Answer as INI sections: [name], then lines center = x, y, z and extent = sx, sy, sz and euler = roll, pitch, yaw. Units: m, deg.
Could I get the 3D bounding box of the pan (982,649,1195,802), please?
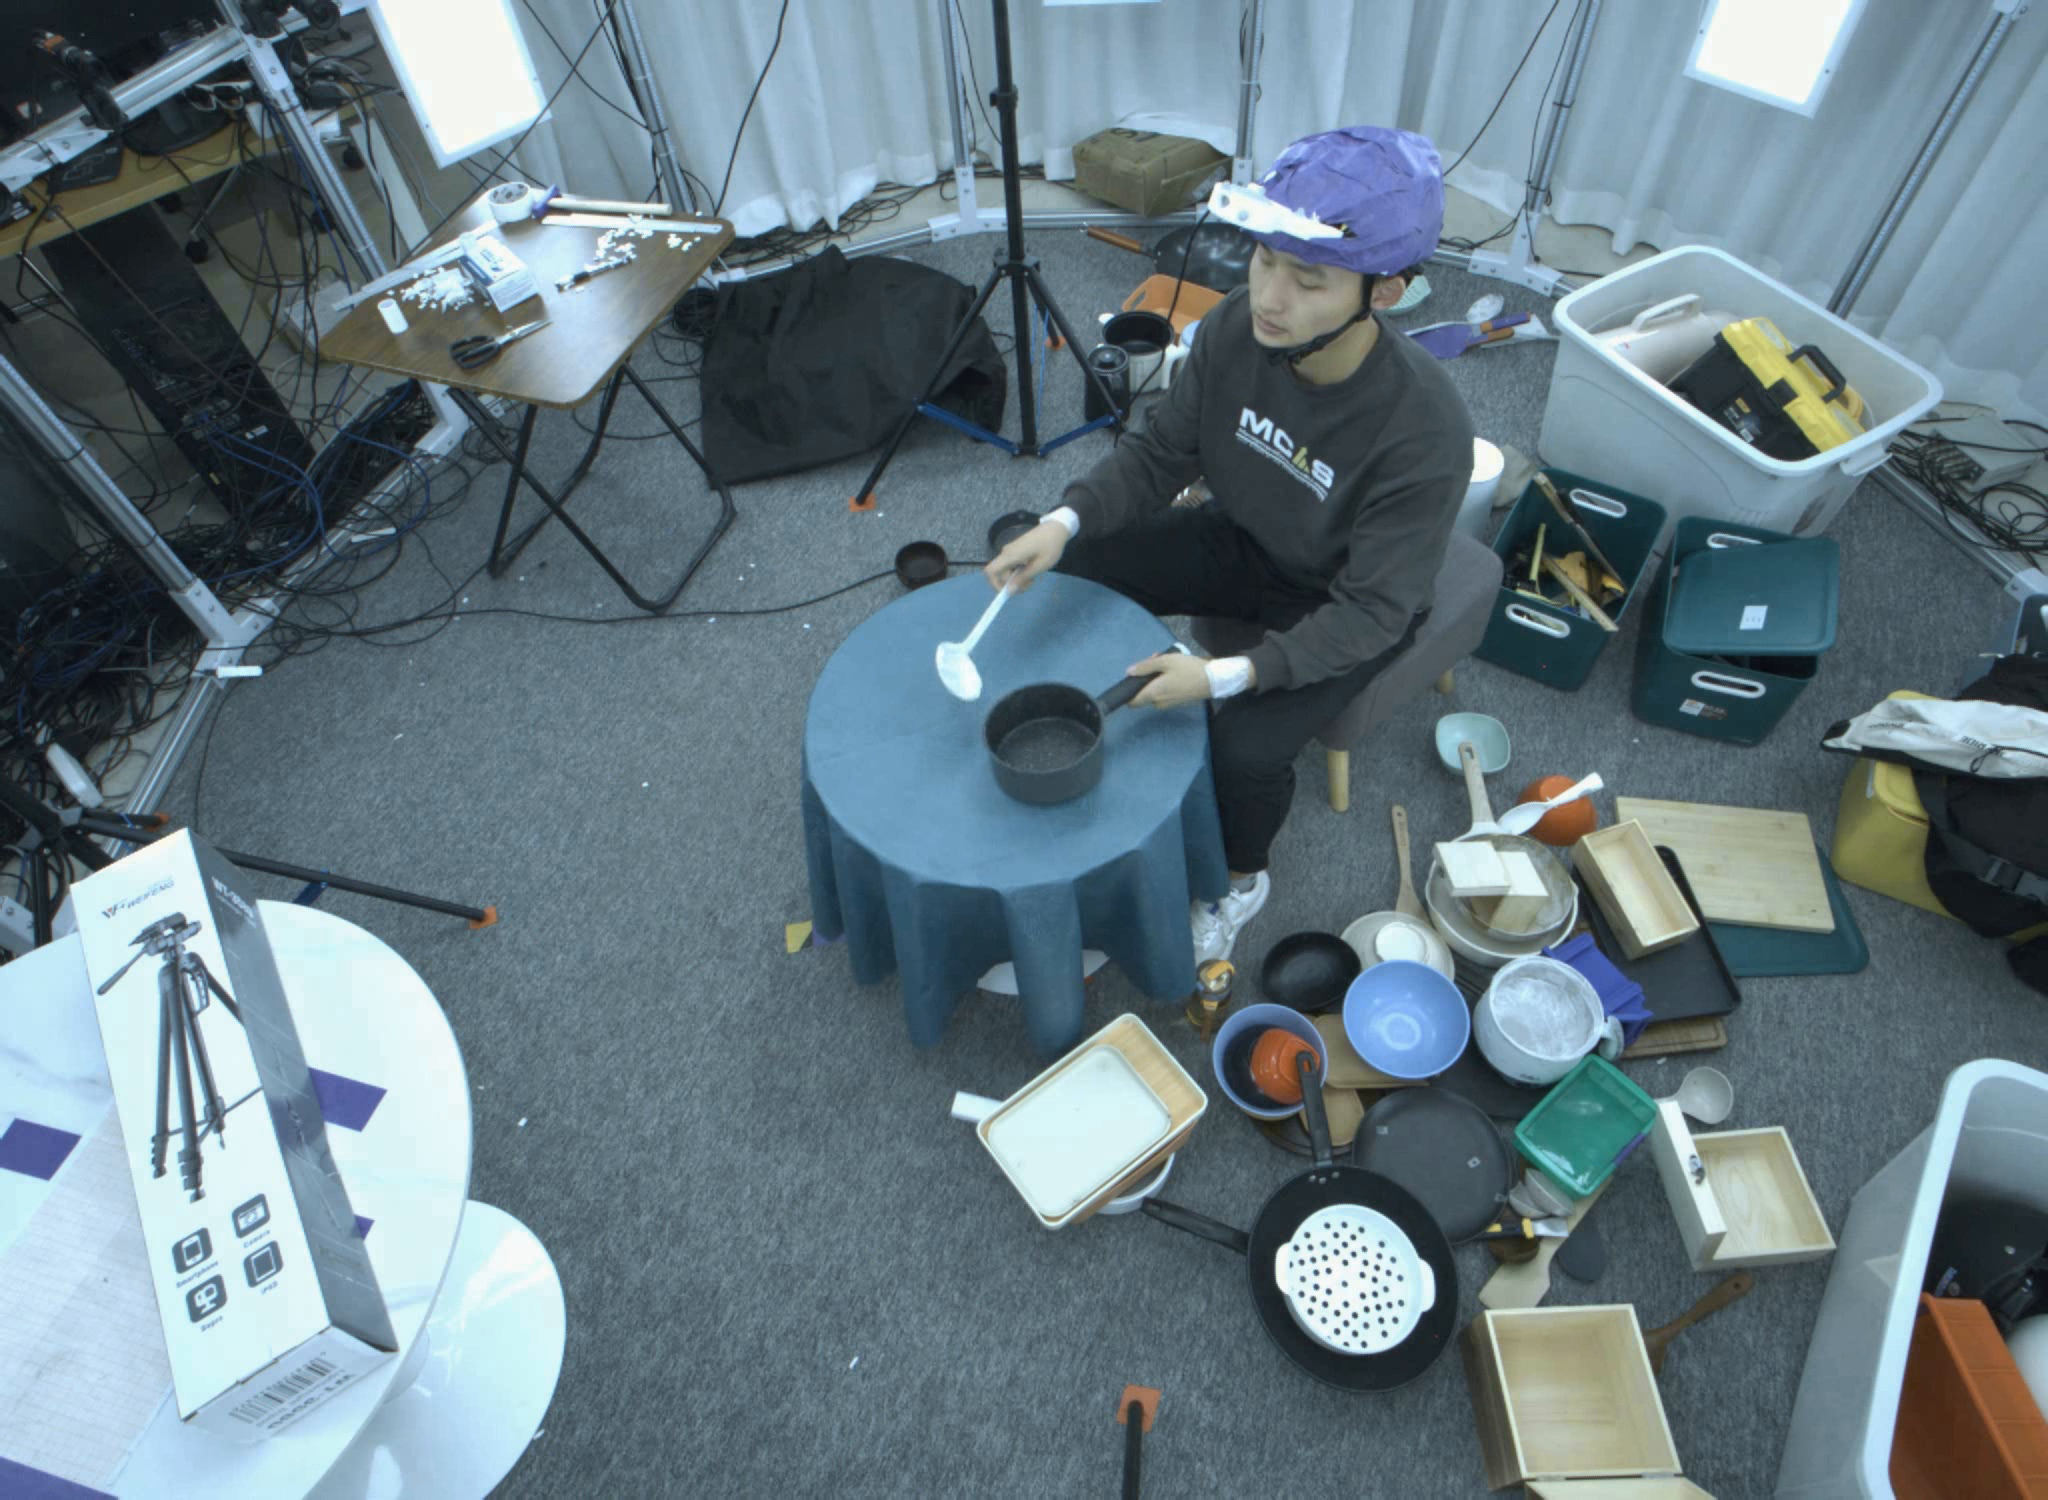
[pan]
center = 0.099, -0.045, 1.765
extent = 0.331, 0.087, 0.168
euler = -26, 54, -14

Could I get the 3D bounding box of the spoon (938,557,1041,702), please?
[spoon]
center = -0.037, -0.184, 1.807
extent = 0.058, 0.102, 0.278
euler = 8, 55, 51
